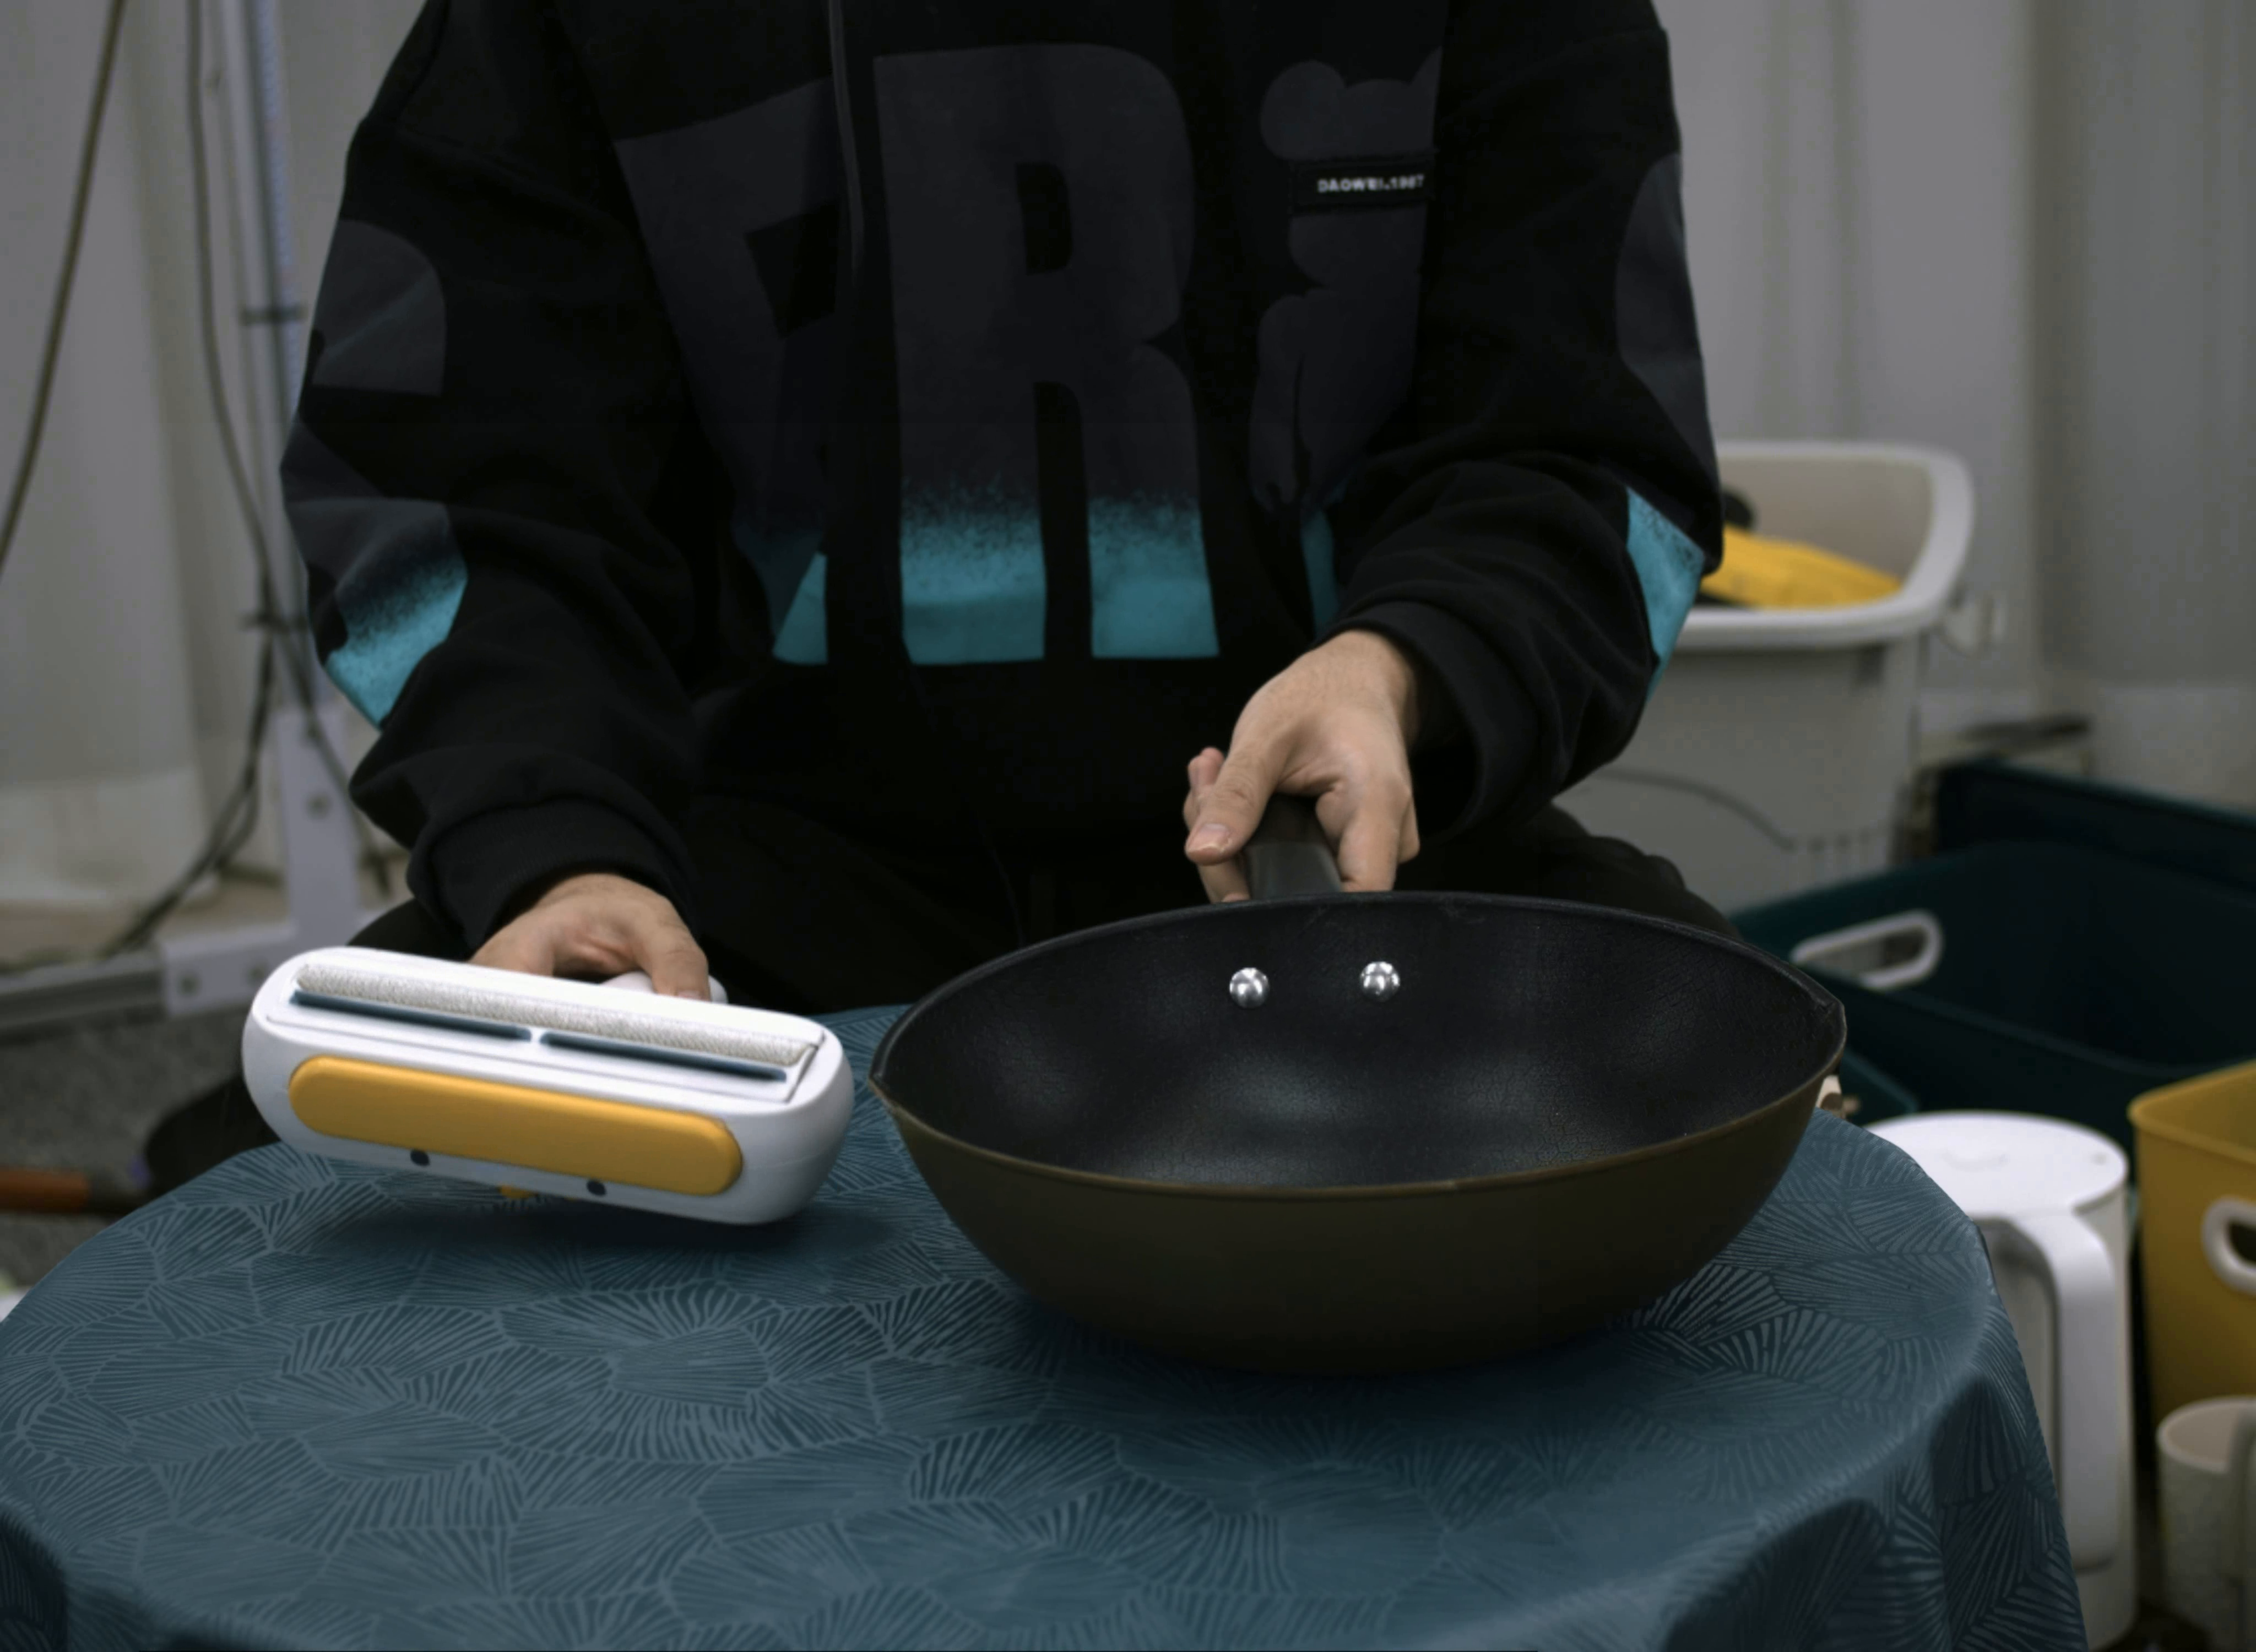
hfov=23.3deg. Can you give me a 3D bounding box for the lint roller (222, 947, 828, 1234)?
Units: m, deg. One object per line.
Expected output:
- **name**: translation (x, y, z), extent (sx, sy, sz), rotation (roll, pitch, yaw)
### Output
- **lint roller**: translation (-0.171, 0.069, 1.758), extent (0.193, 0.074, 0.193), rotation (5, 21, 16)

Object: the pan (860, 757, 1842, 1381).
- **pan**: translation (0.060, 0.073, 1.692), extent (0.287, 0.086, 0.467), rotation (-4, 15, -3)
